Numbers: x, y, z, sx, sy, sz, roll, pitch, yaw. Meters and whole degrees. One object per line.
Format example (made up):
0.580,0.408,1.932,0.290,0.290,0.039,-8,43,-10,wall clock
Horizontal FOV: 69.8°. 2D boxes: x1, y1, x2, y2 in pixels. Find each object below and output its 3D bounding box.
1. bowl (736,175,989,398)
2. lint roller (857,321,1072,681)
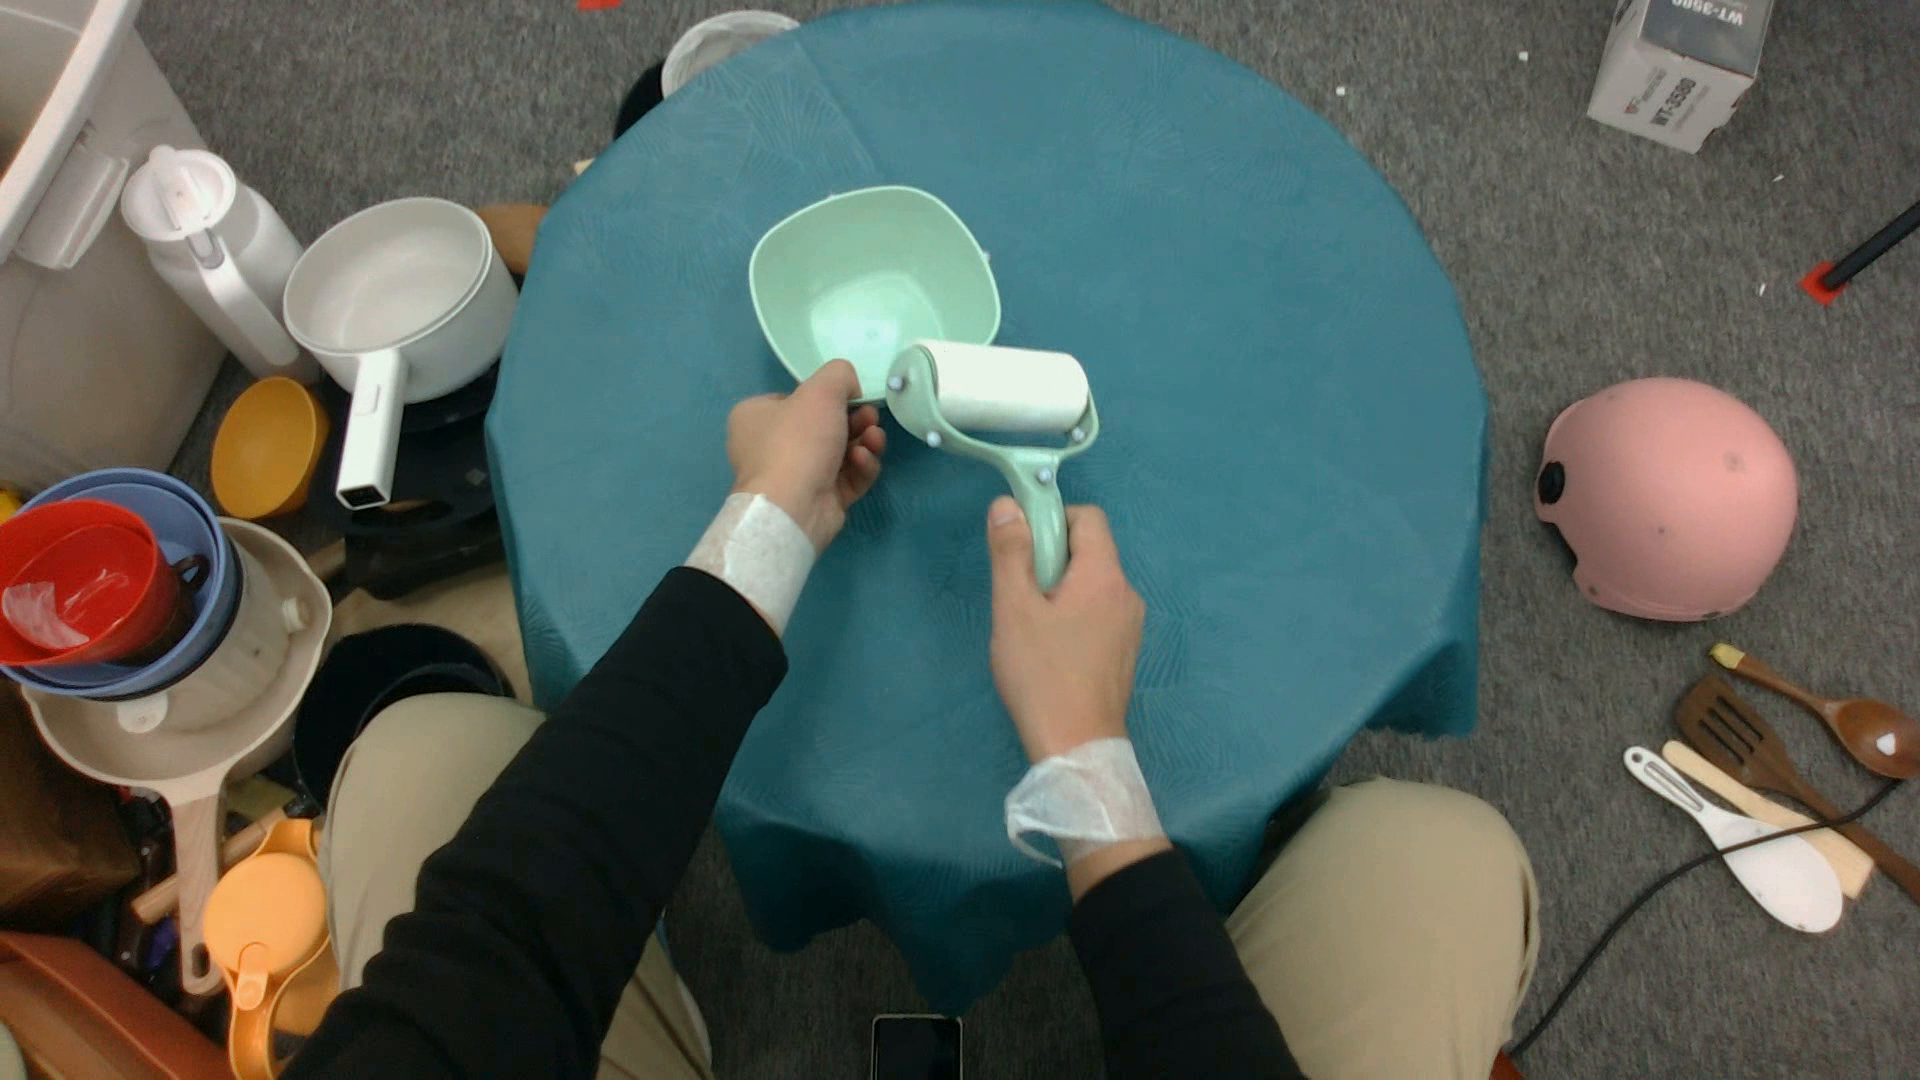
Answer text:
-0.058,-0.141,0.822,0.151,0.058,0.152,1,67,-3,bowl
0.019,-0.025,0.721,0.117,0.048,0.198,-1,67,-37,lint roller
